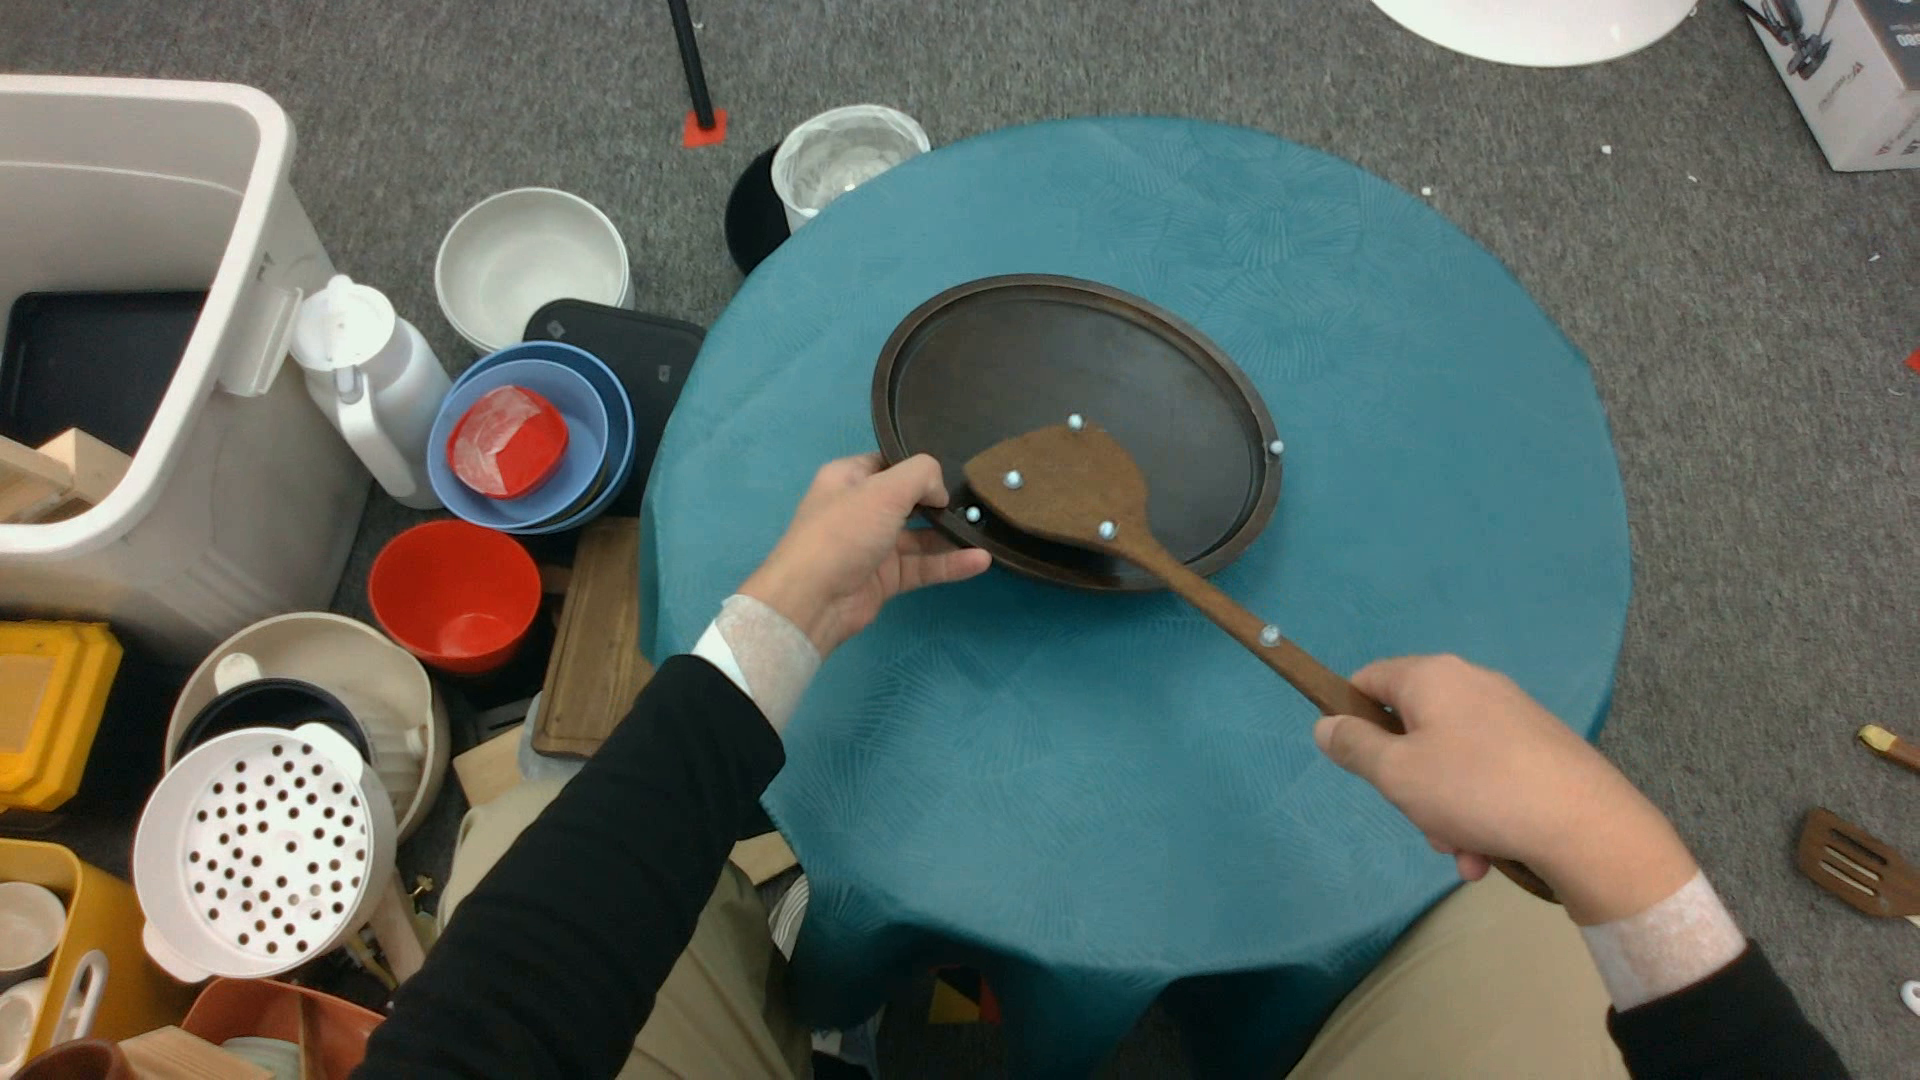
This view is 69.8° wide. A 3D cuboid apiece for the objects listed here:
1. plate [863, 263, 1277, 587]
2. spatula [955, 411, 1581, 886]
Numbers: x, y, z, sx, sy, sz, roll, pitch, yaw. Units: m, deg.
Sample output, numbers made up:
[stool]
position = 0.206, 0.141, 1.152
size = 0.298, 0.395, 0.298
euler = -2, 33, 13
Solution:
[plate]
position = 0.066, -0.074, 0.823
size = 0.255, 0.029, 0.256
euler = 8, 50, -10
[spatula]
position = 0.135, 0.034, 0.667
size = 0.096, 0.016, 0.386
euler = -22, 42, -27
